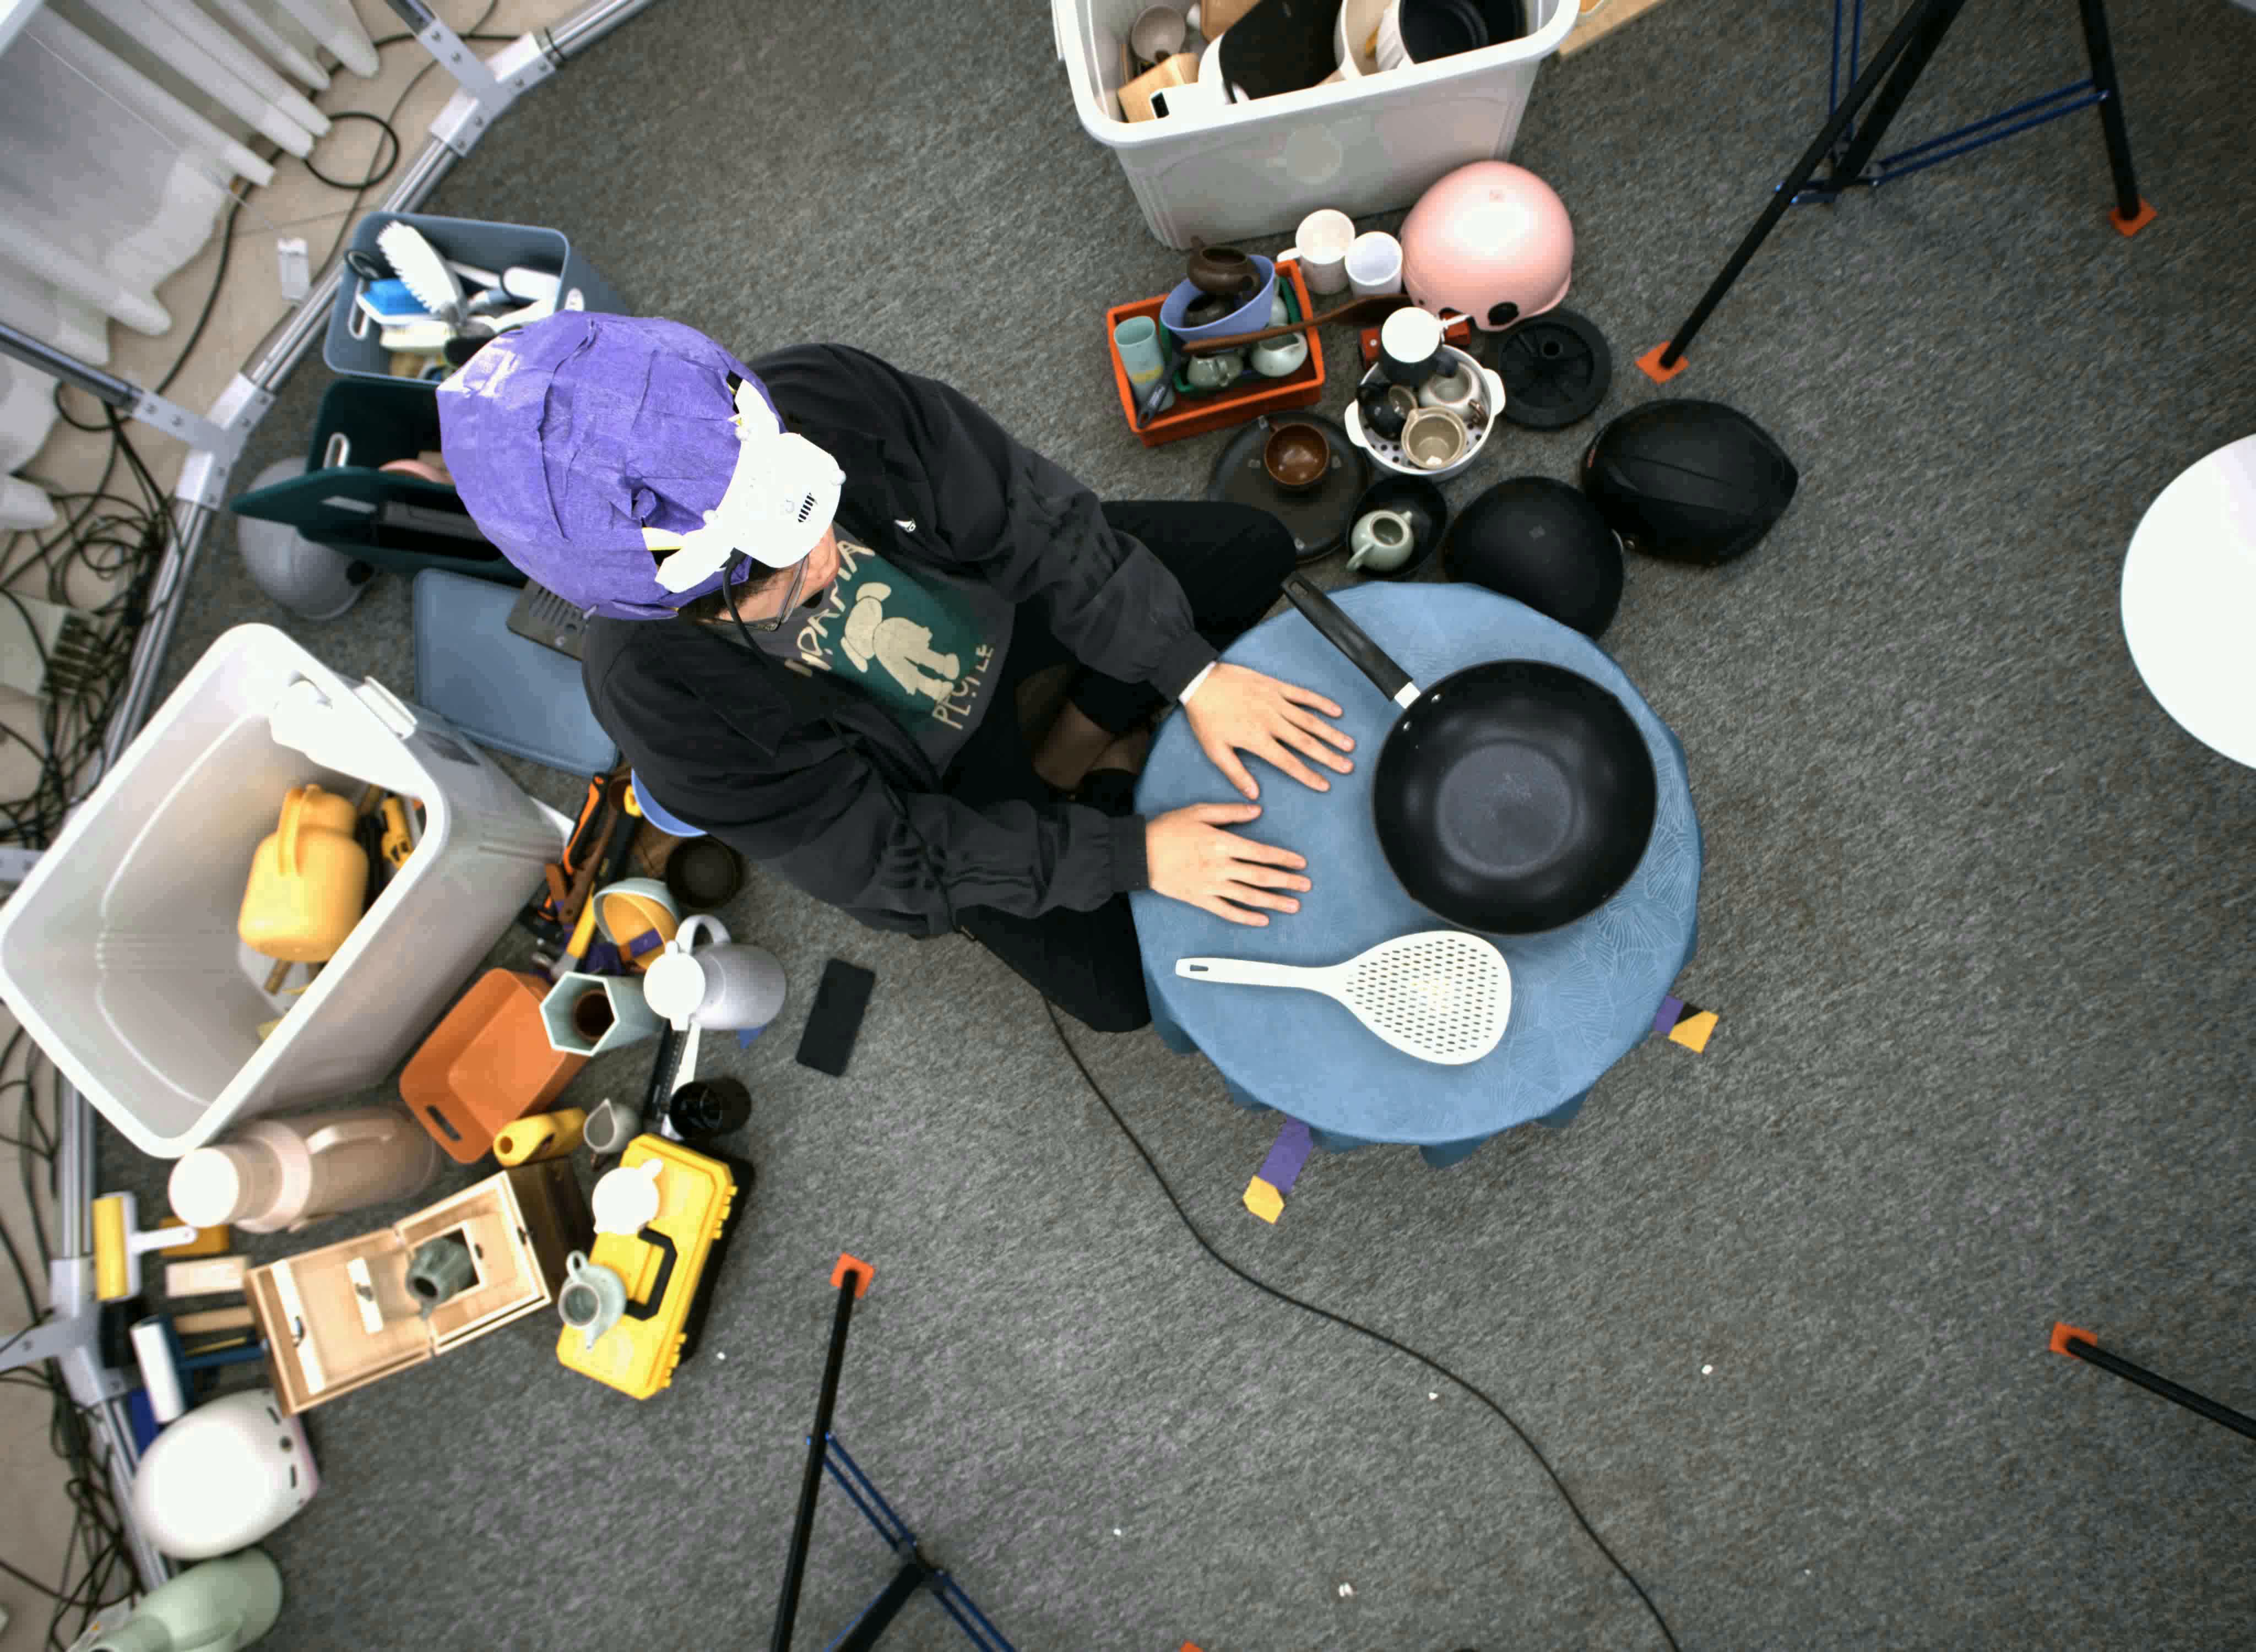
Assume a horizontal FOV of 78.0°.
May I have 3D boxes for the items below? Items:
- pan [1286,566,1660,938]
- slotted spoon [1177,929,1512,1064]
[{"bbox_3d":[0.326,-0.091,1.414,0.289,0.087,0.461,-45,79,5],"label":"pan"},{"bbox_3d":[0.220,0.162,1.442,0.349,0.050,0.136,6,90,11],"label":"slotted spoon"}]
